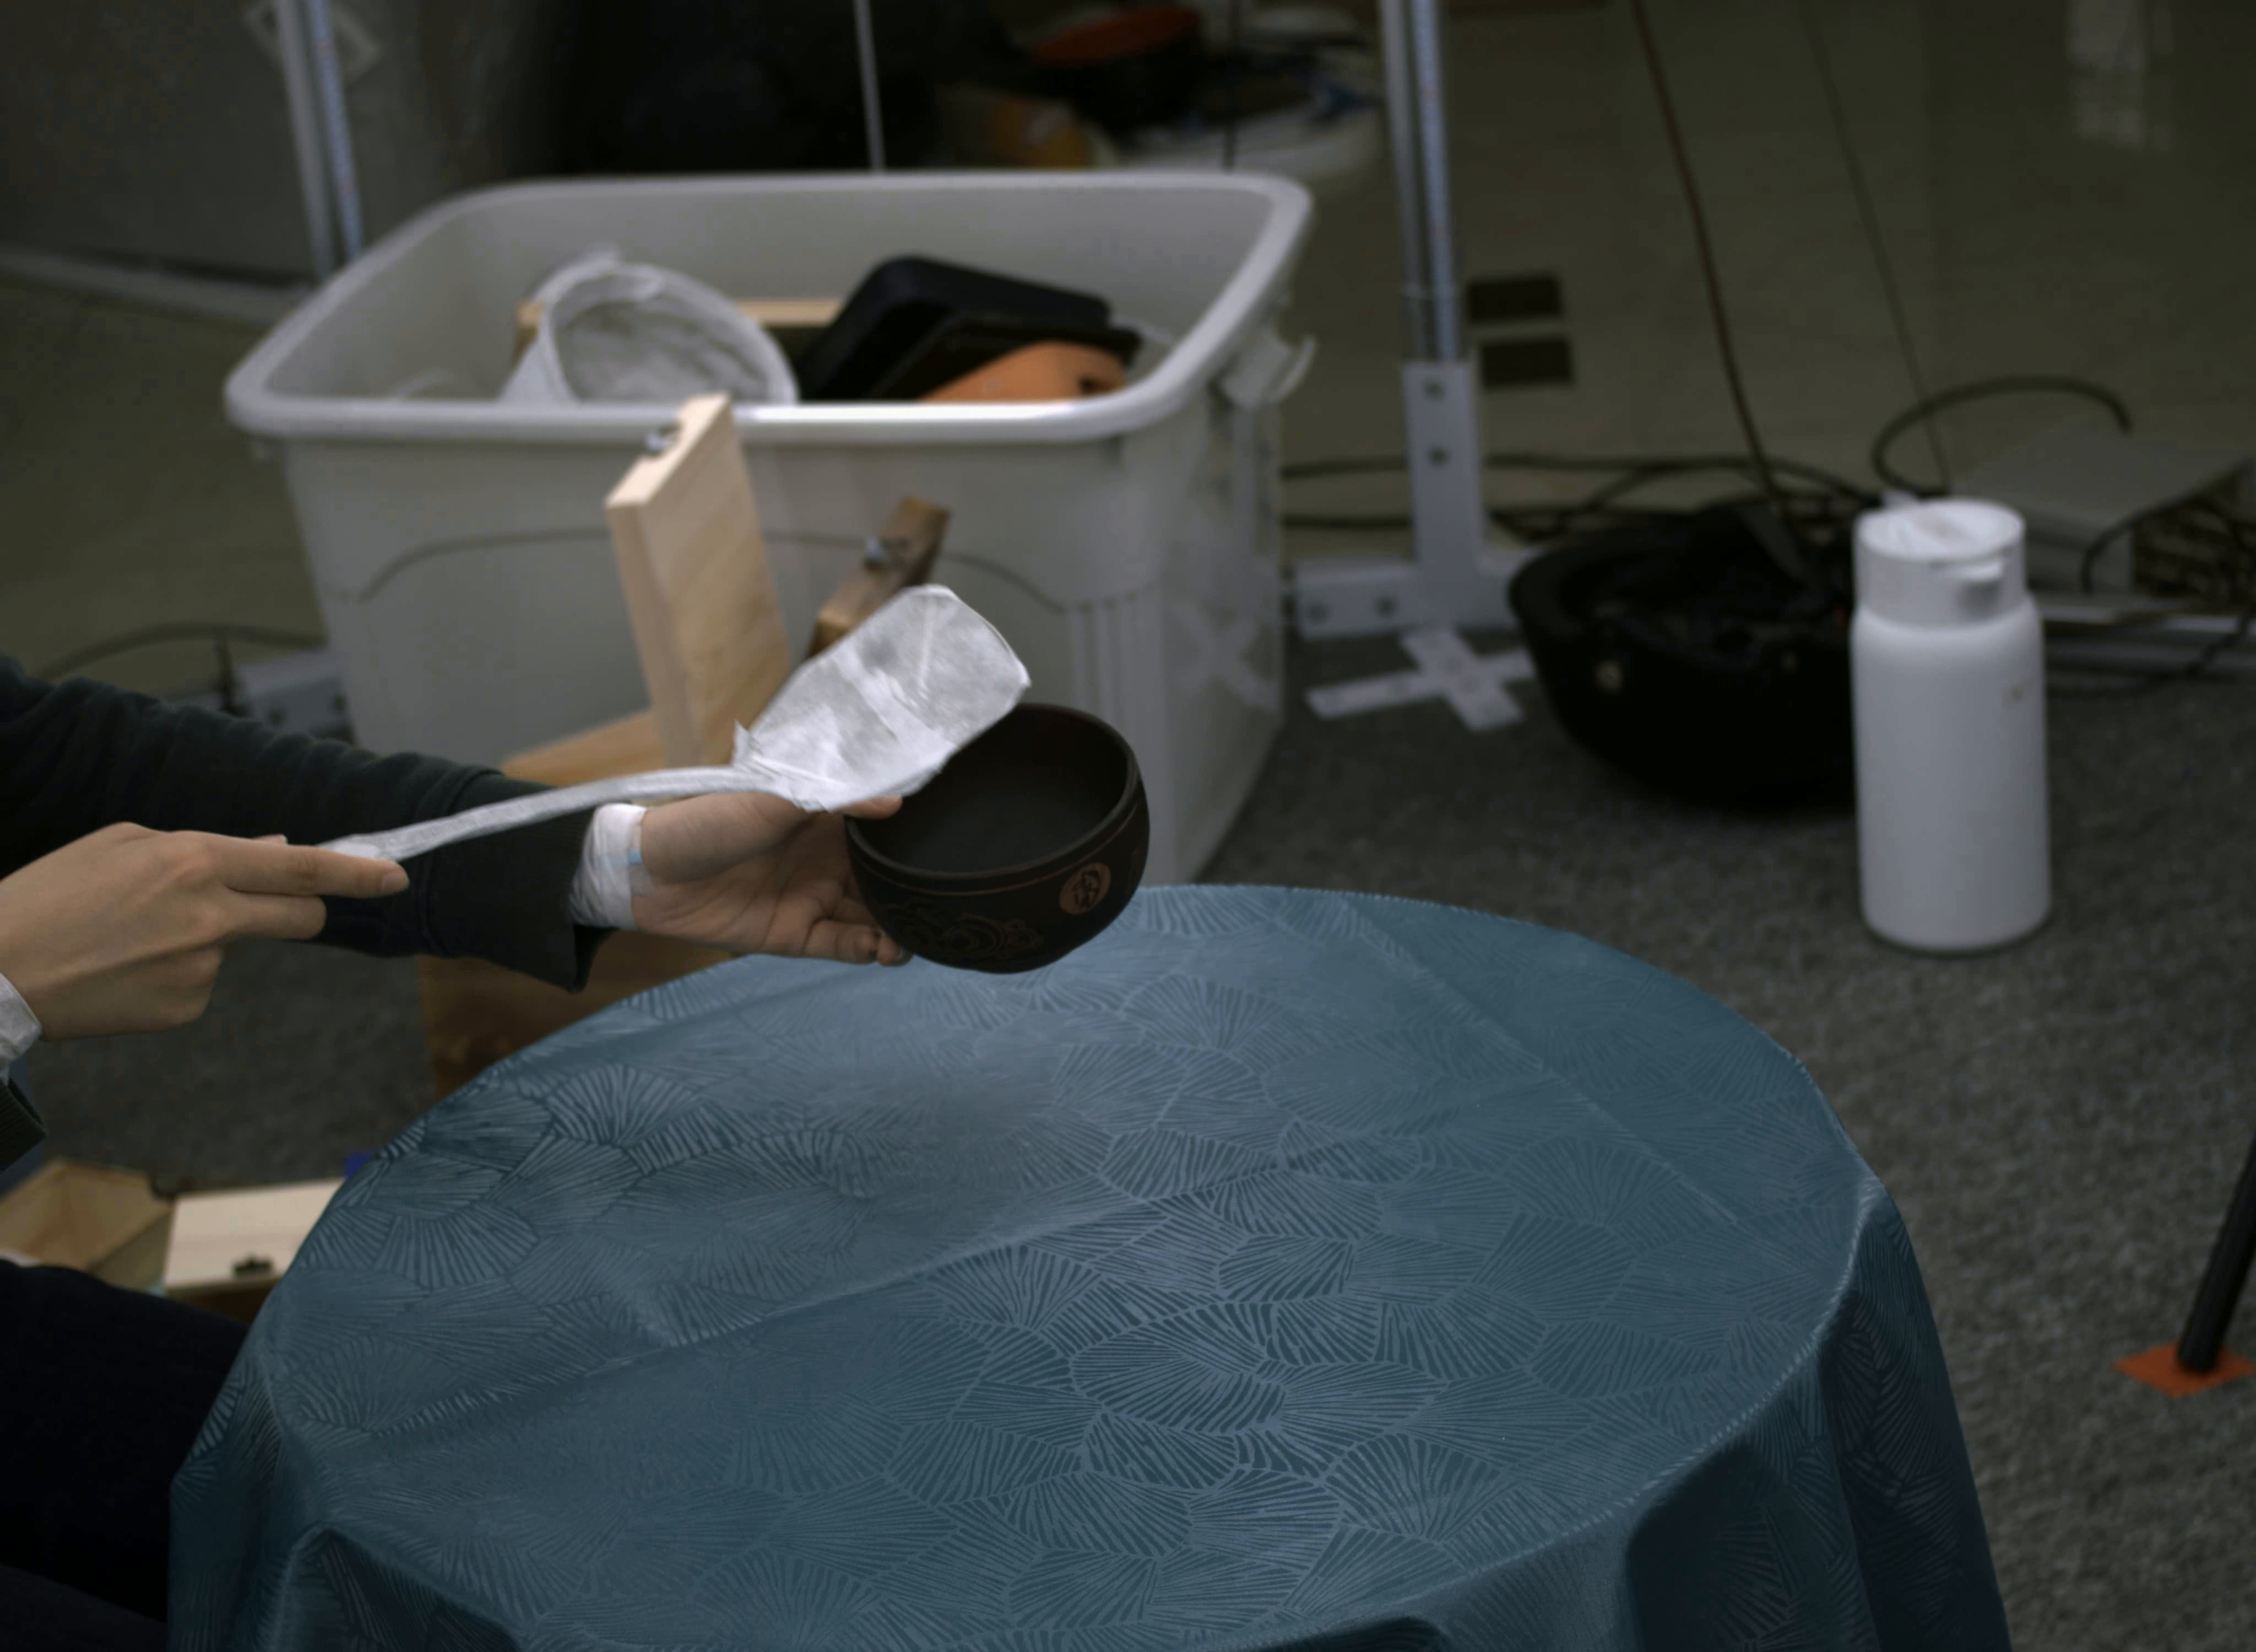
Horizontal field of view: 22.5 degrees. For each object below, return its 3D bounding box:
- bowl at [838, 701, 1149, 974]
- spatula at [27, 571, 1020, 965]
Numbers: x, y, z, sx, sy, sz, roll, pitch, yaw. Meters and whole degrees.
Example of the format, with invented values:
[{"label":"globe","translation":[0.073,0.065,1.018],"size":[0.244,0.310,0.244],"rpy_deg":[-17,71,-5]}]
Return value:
[{"label":"bowl","translation":[-0.048,0.012,2.166],"size":[0.118,0.071,0.116],"rpy_deg":[-7,36,5]},{"label":"spatula","translation":[-0.213,-0.013,2.003],"size":[0.363,0.045,0.097],"rpy_deg":[-15,38,-18]}]
